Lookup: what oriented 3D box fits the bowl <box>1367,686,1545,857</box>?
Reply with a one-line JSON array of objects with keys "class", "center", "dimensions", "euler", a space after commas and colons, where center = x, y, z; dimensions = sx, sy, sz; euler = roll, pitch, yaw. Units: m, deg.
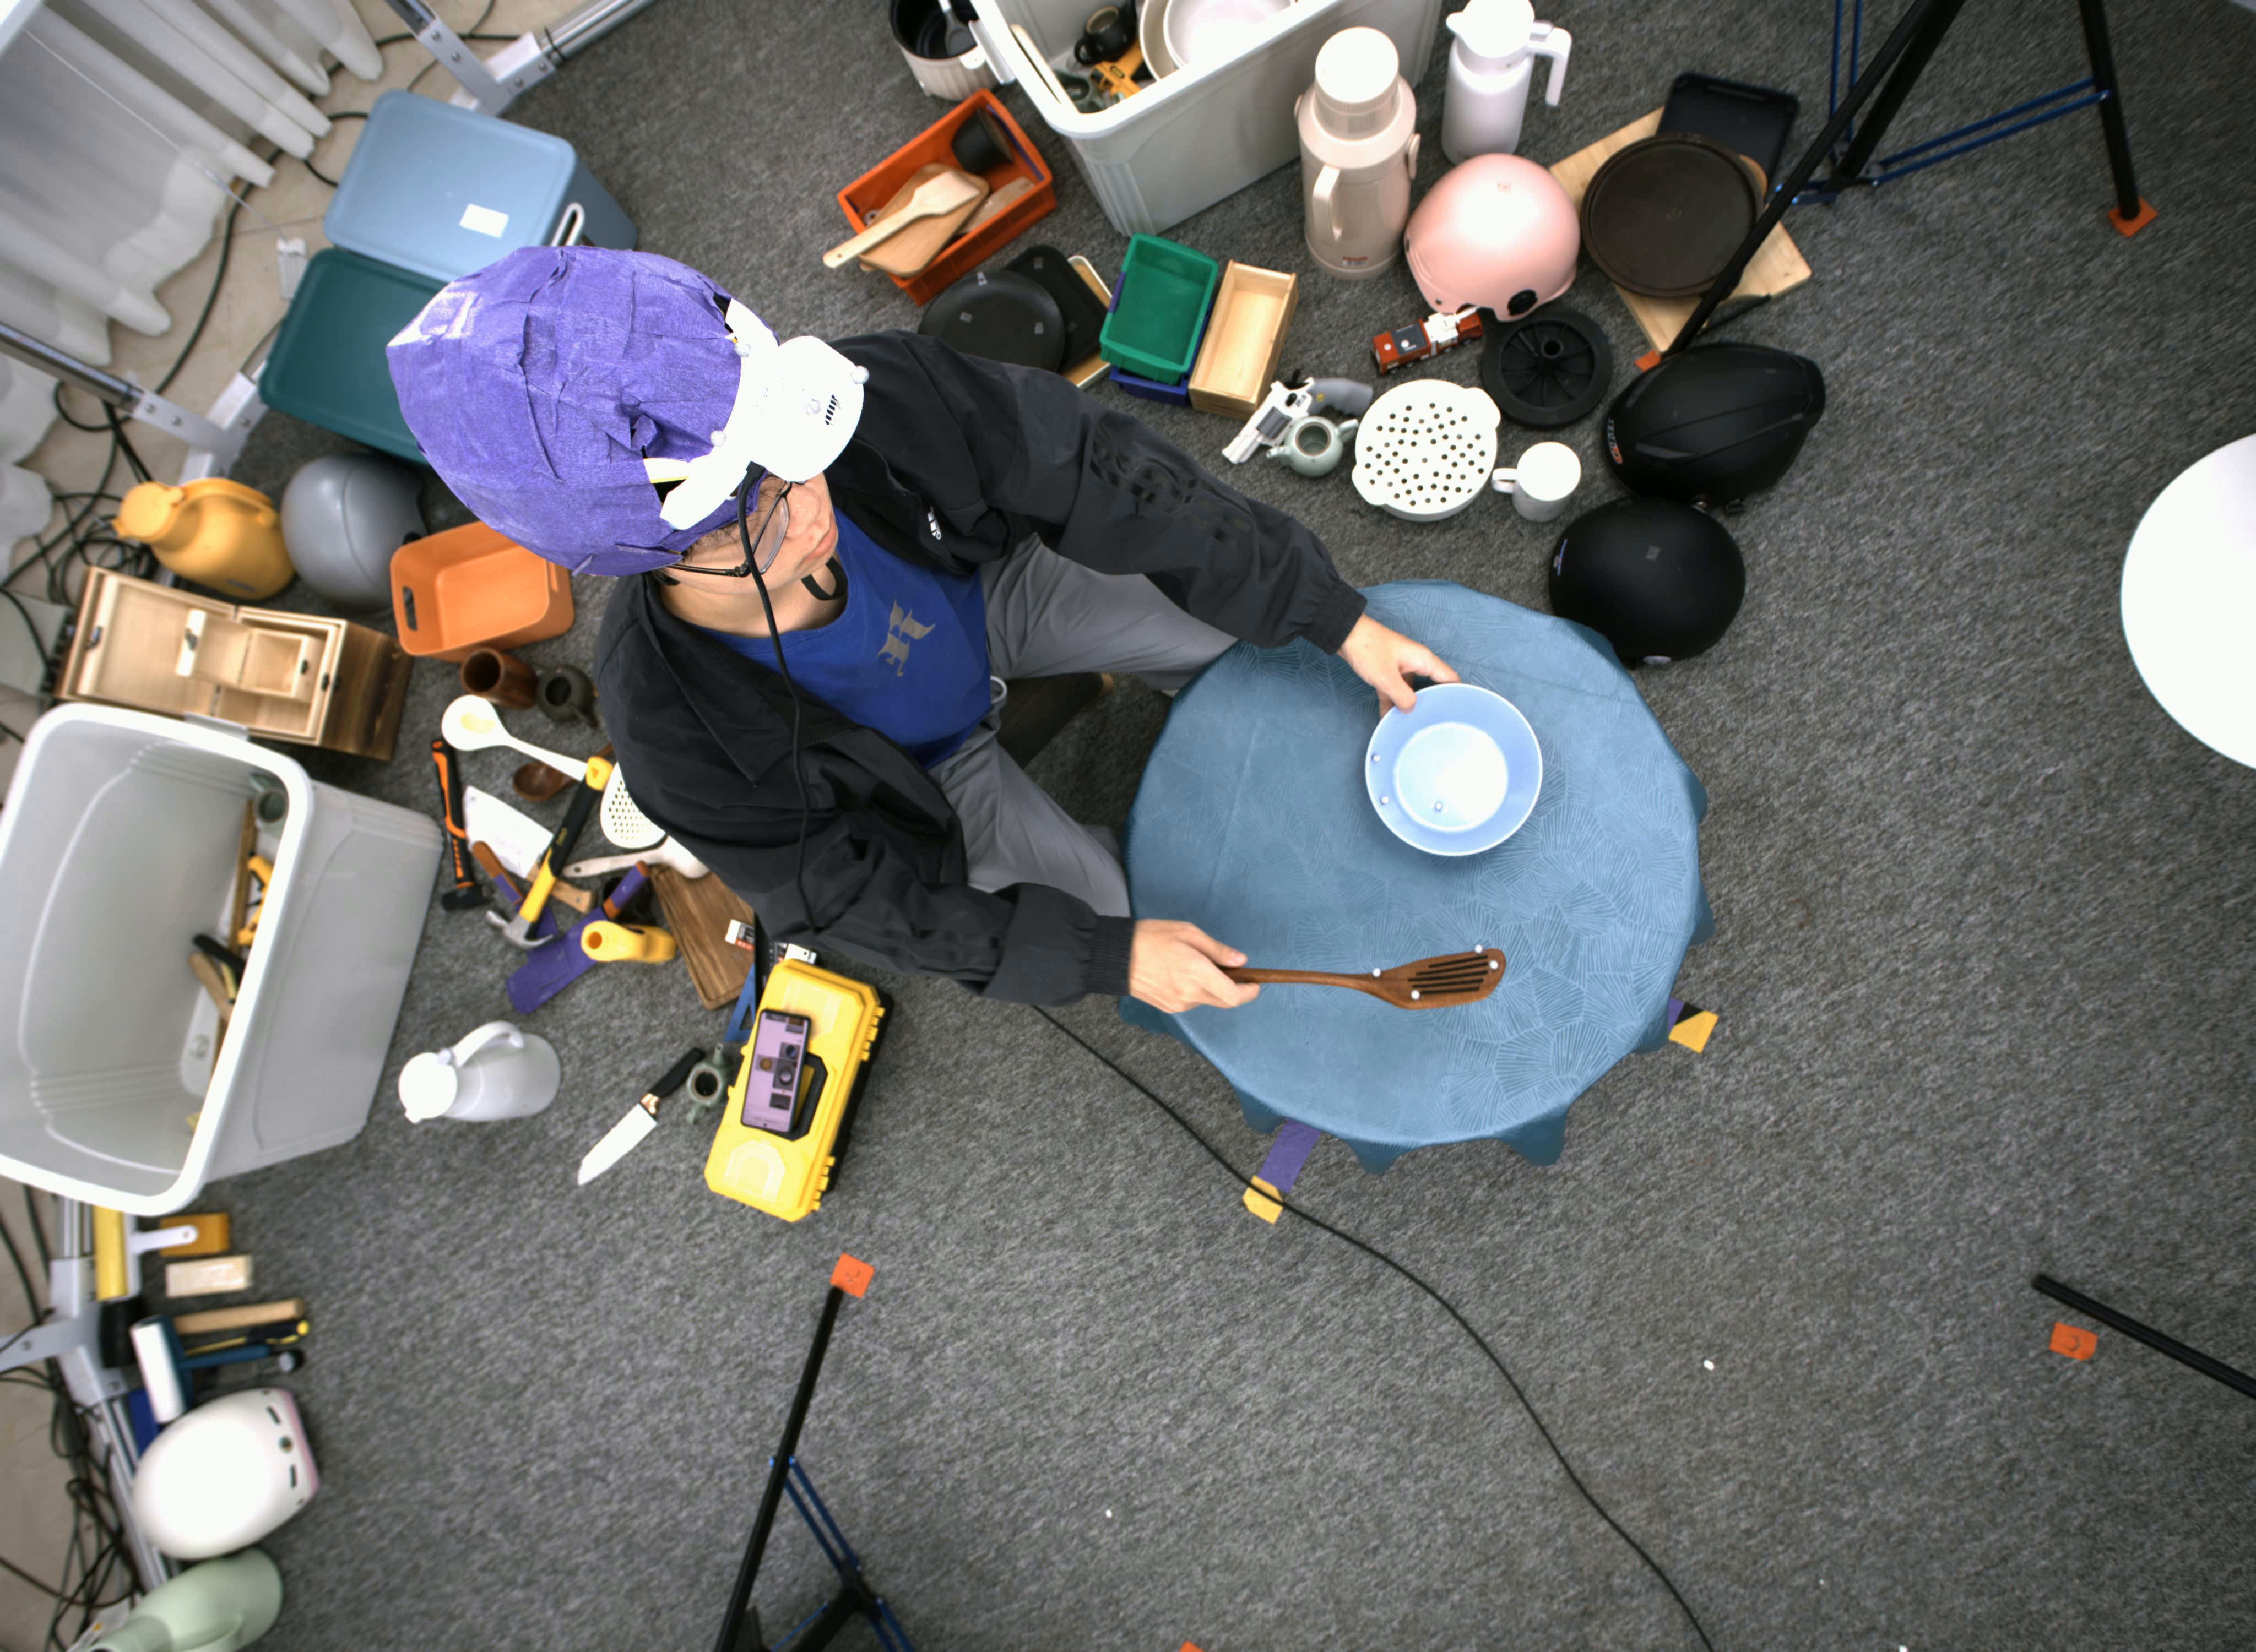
[{"class": "bowl", "center": [0.336, -0.055, 1.416], "dimensions": [0.177, 0.070, 0.175], "euler": [-1, 86, 12]}]

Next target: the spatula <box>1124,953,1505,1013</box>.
[{"class": "spatula", "center": [0.170, 0.149, 1.343], "dimensions": [0.389, 0.083, 0.024], "euler": [-2, 120, 27]}]
